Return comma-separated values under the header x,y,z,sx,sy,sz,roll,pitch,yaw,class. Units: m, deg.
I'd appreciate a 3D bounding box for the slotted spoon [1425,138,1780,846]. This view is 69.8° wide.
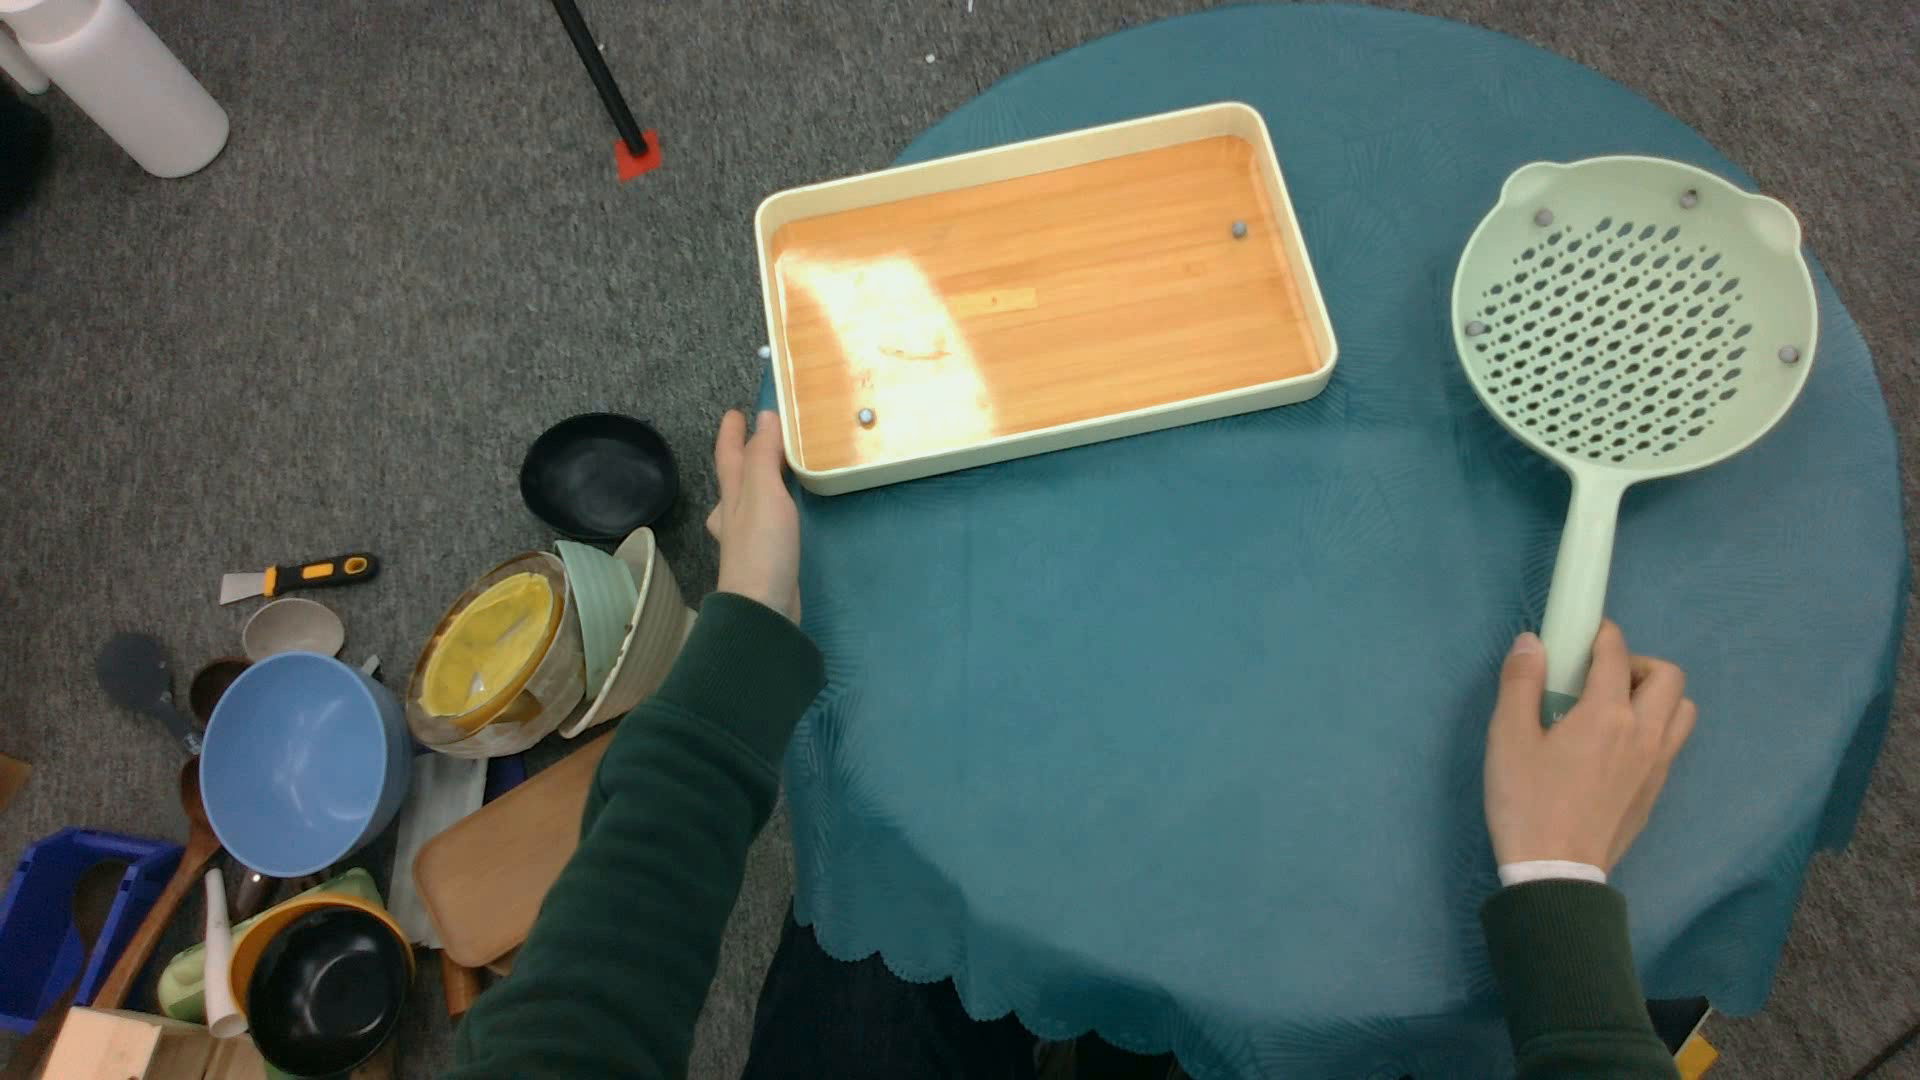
x,y,z,sx,sy,sz,roll,pitch,yaw,class
0.294,-0.030,0.676,0.169,0.075,0.360,13,69,11,slotted spoon

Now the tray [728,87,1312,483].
x,y,z,sx,sy,sz,roll,pitch,yaw,class
0.028,-0.146,0.773,0.300,0.027,0.192,-12,66,1,tray
